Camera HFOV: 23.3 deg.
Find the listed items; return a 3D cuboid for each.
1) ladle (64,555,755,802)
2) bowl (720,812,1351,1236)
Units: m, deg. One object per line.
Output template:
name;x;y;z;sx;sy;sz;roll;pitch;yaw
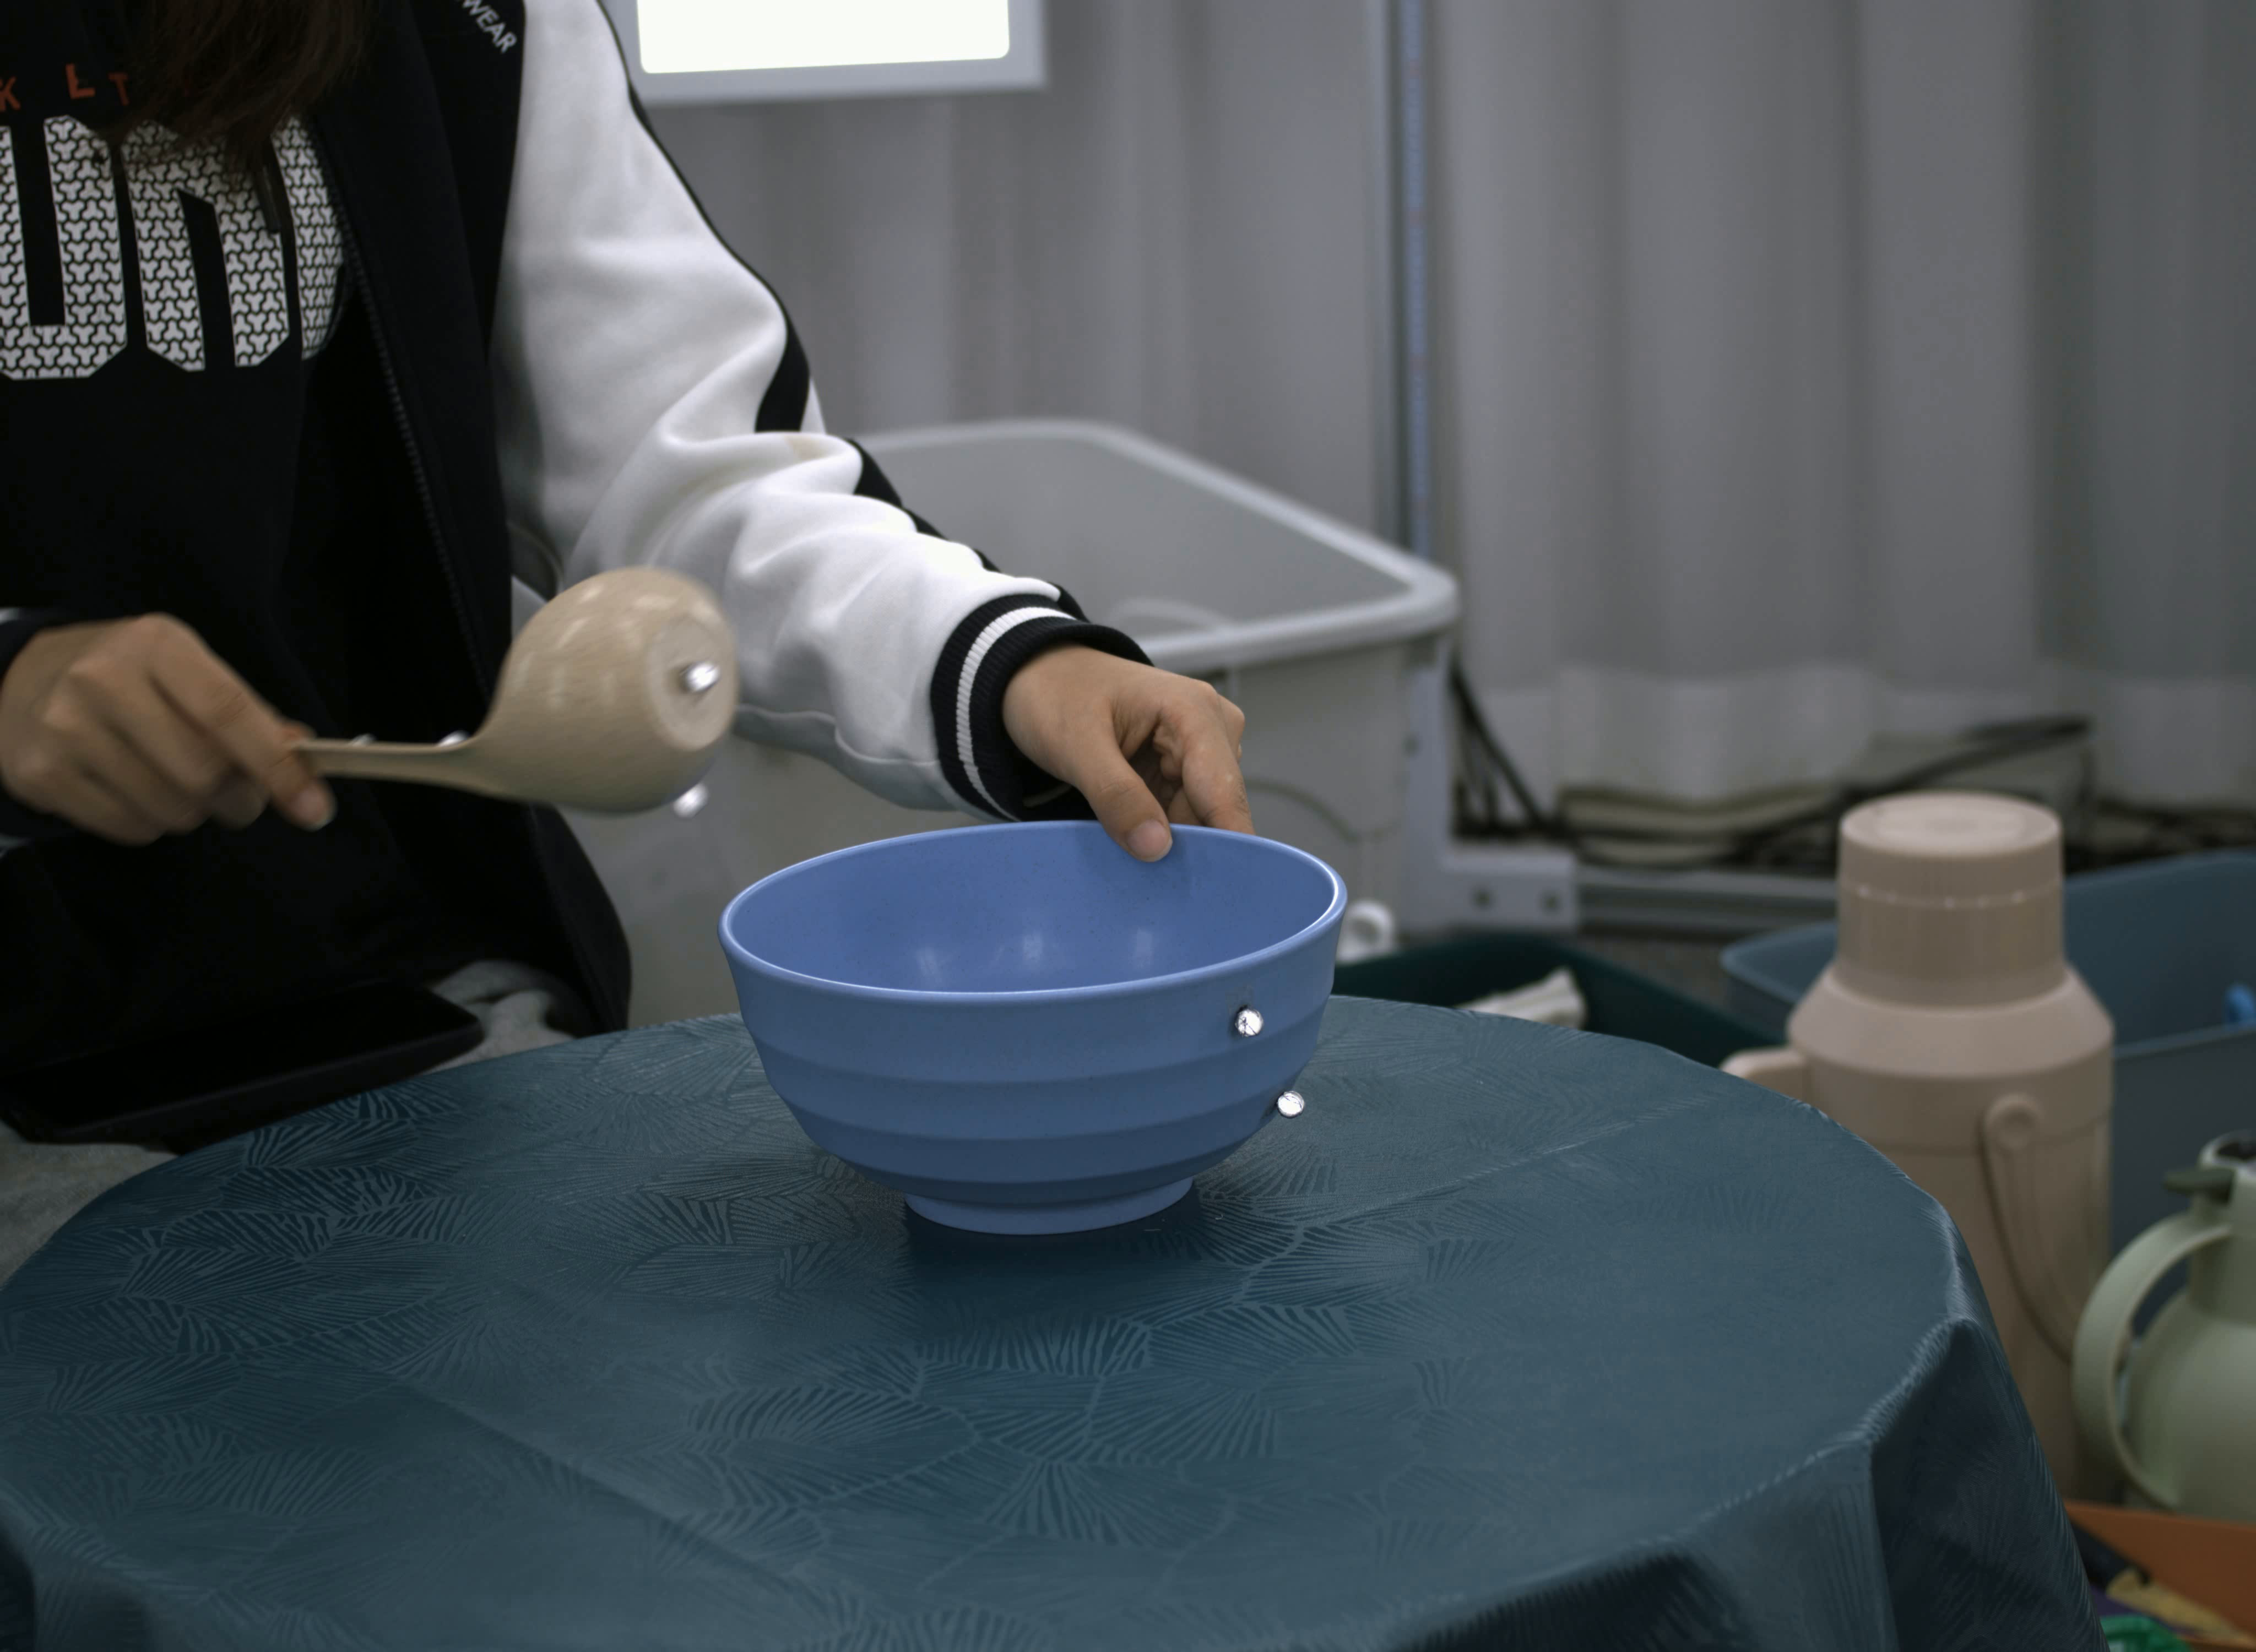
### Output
ladle;-0.219;-0.045;1.659;0.255;0.071;0.073;2;47;40
bowl;-0.028;0.068;1.711;0.196;0.095;0.198;-1;16;0
